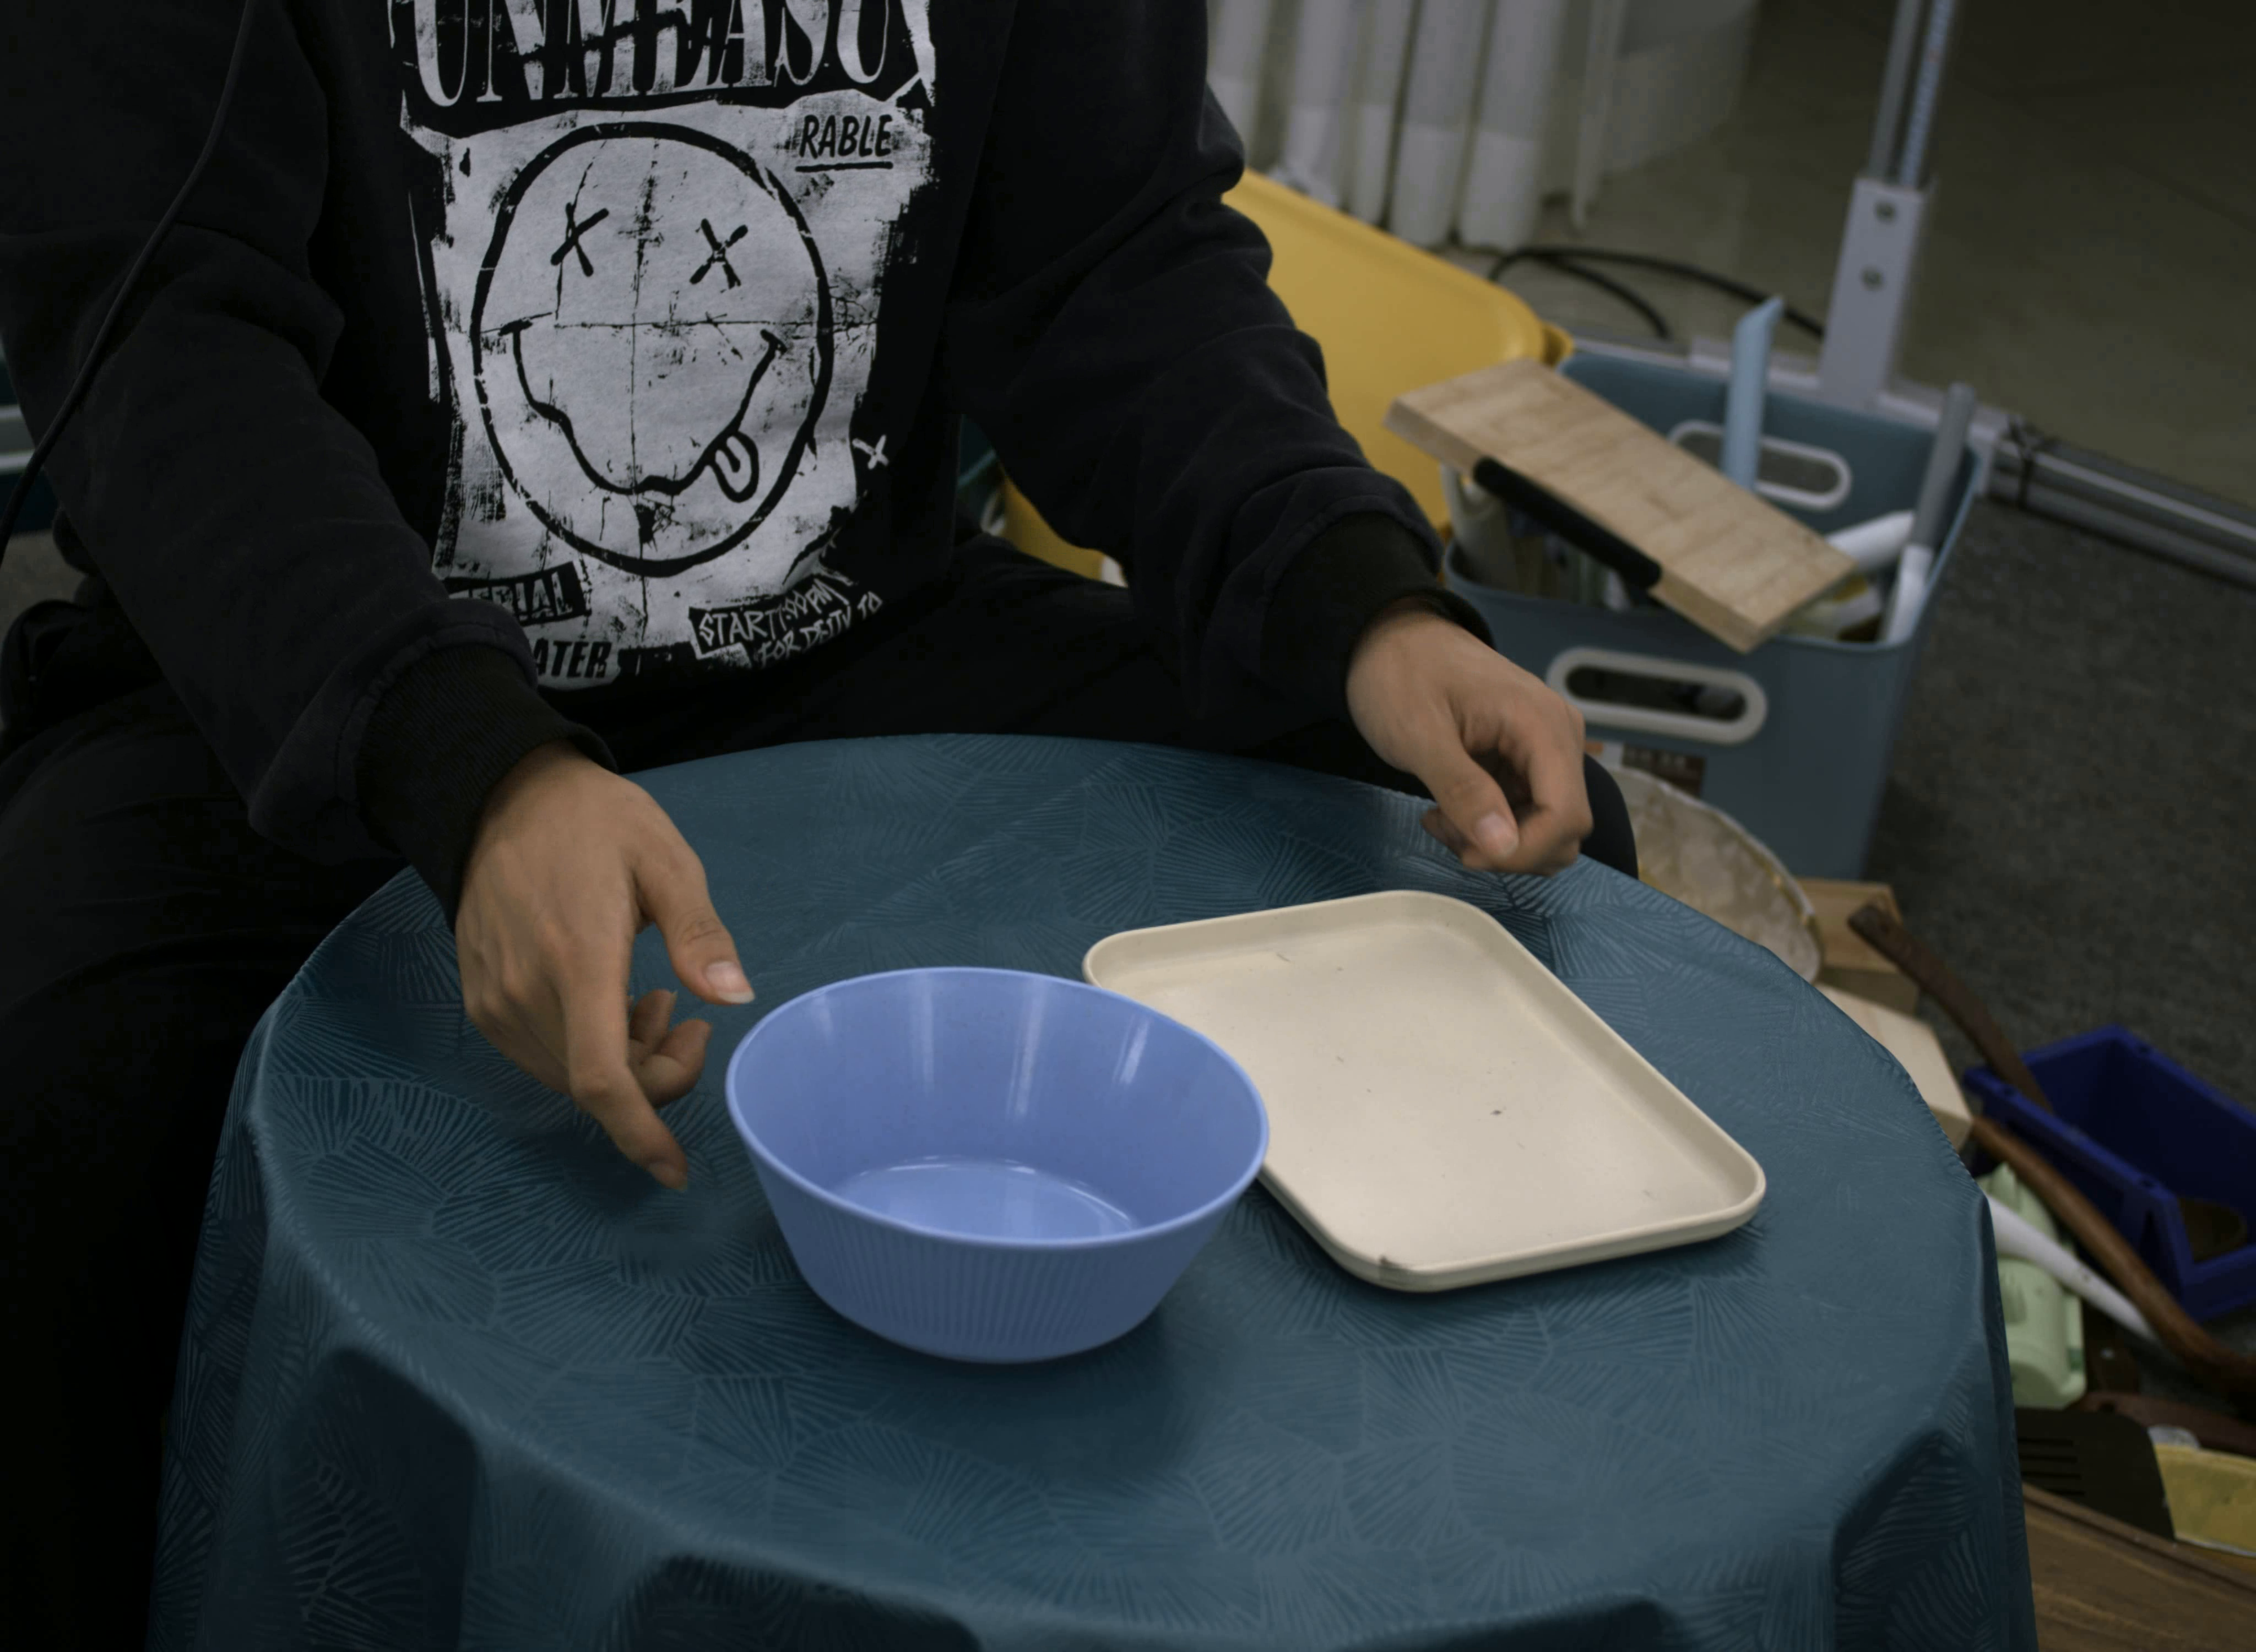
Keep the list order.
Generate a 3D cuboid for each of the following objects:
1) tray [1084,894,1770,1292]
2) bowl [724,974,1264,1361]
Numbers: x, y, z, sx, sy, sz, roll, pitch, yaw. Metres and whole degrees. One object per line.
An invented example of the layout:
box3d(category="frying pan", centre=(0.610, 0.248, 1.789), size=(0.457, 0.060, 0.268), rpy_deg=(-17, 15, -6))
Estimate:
box3d(category="tray", centre=(0.101, 0.092, 1.866), size=(0.170, 0.017, 0.242), rpy_deg=(-7, 30, -26))
box3d(category="bowl", centre=(-0.047, 0.116, 1.725), size=(0.175, 0.070, 0.177), rpy_deg=(6, 26, -3))
